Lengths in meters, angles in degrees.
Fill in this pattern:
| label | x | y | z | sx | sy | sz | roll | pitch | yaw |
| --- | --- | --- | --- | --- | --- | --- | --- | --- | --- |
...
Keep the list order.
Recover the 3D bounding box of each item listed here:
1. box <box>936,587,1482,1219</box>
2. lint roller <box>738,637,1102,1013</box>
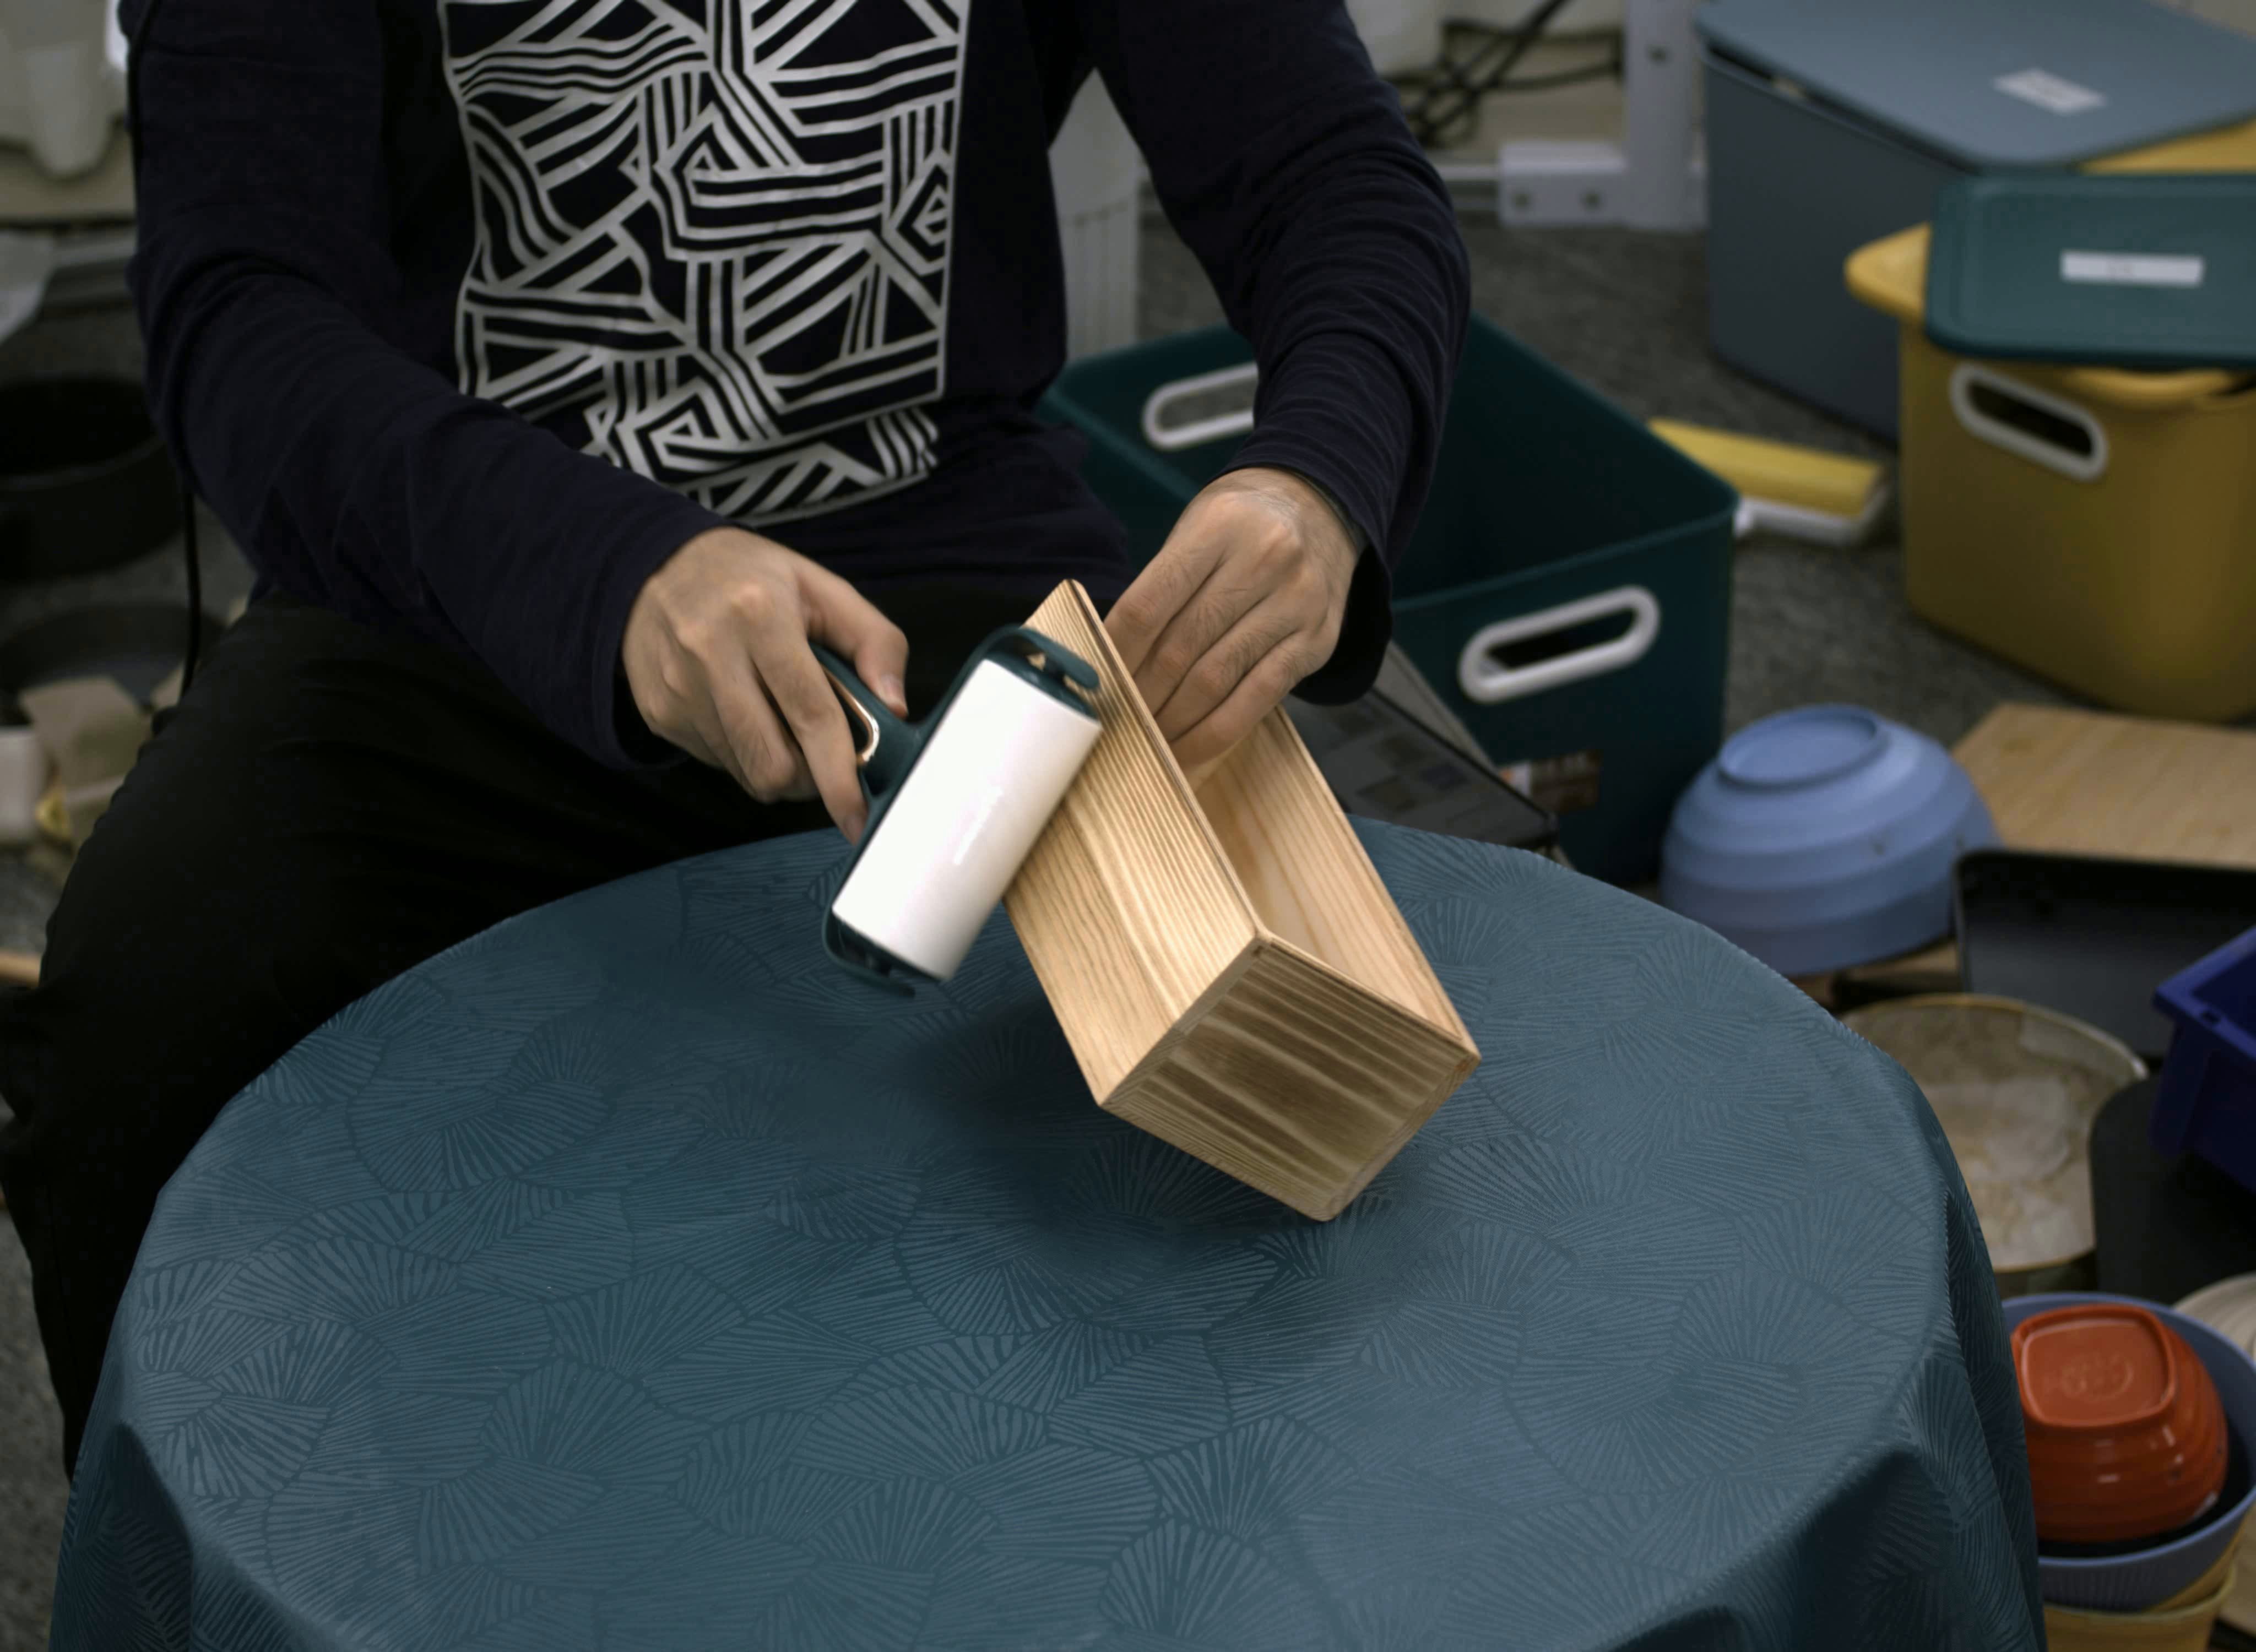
| label | x | y | z | sx | sy | sz | roll | pitch | yaw |
| --- | --- | --- | --- | --- | --- | --- | --- | --- | --- |
| box | 0.021 | 0.023 | 1.880 | 0.107 | 0.079 | 0.214 | 29 | 19 | -34 |
| lint roller | -0.092 | -0.025 | 1.903 | 0.048 | 0.134 | 0.180 | 31 | 1 | -45 |
